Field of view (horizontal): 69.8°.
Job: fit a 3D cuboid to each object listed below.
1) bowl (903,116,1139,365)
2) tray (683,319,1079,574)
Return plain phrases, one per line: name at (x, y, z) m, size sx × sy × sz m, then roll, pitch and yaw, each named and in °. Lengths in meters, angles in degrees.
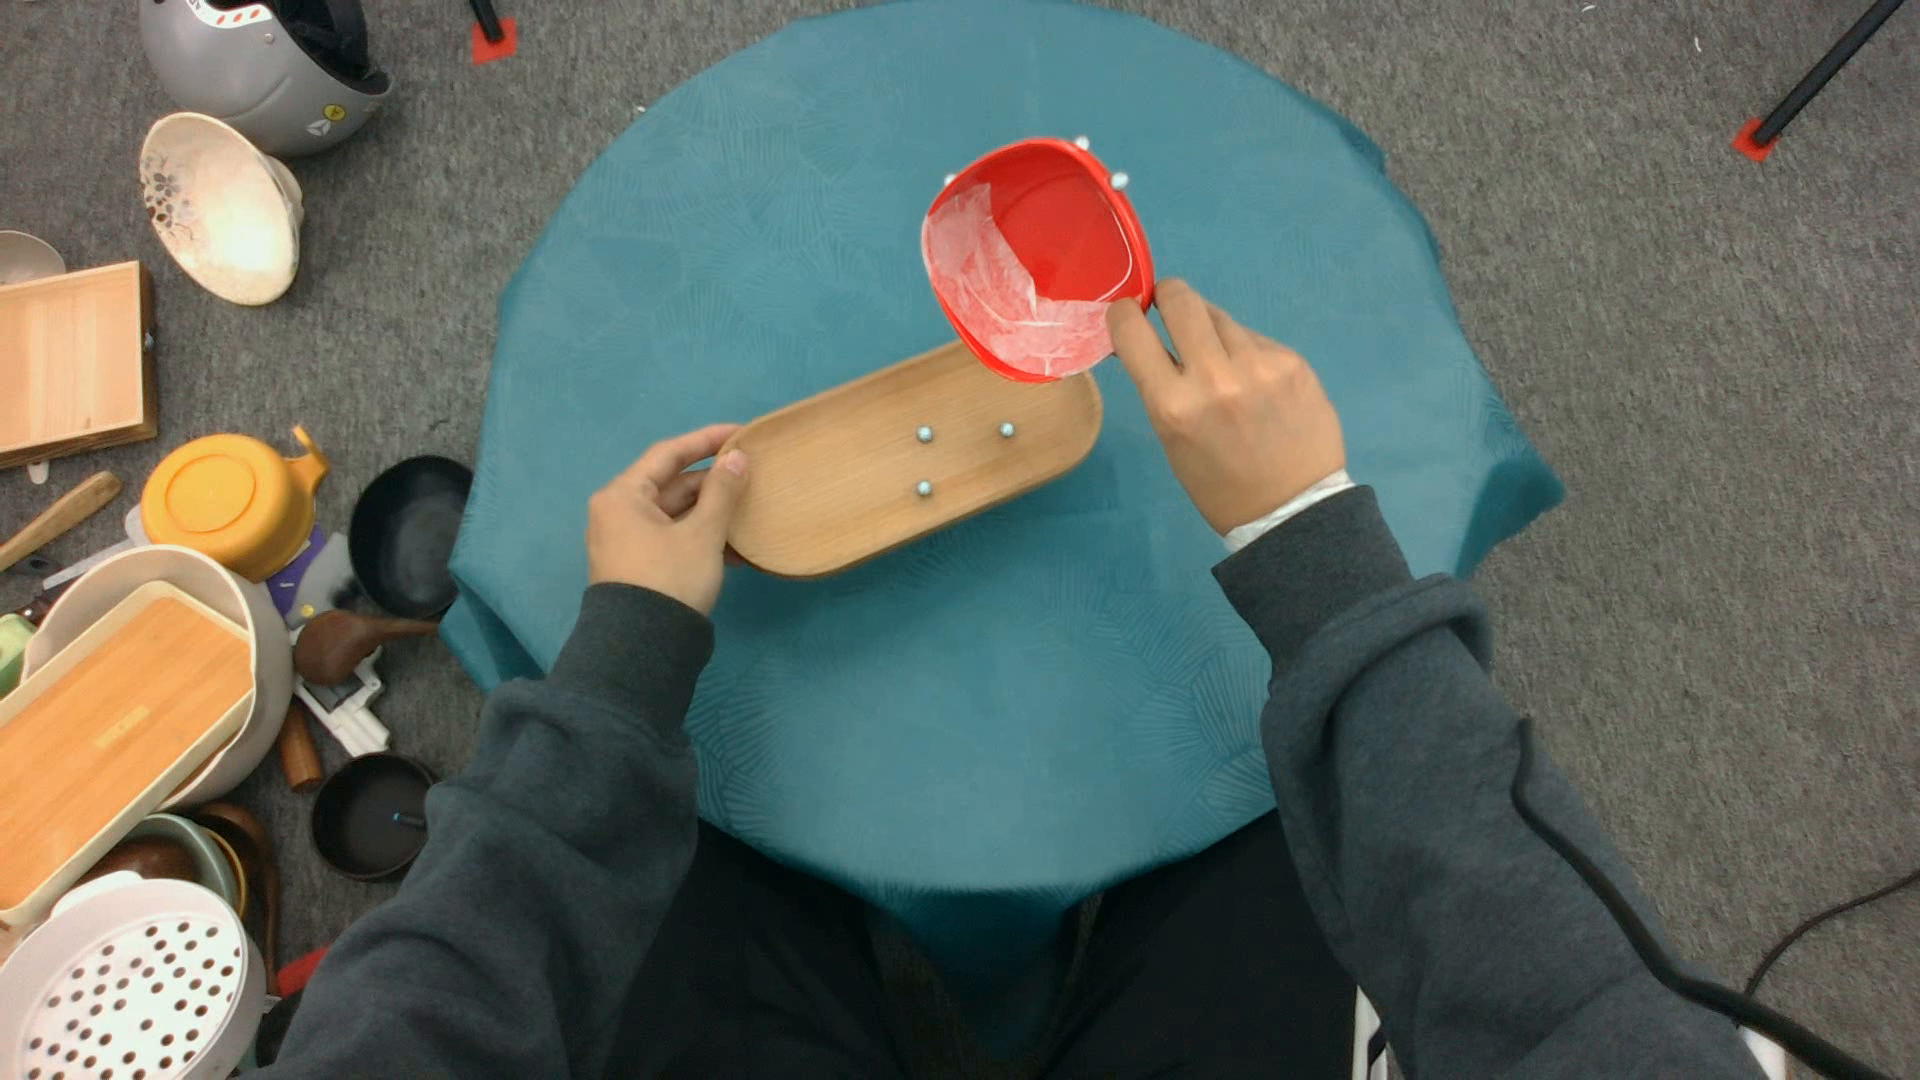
bowl at (0.036, -0.147, 0.662) m, size 0.119 × 0.118 × 0.051 m, roll 31°, pitch 34°, yaw 11°
tray at (-0.040, -0.056, 0.755) m, size 0.232 × 0.020 × 0.102 m, roll -26°, pitch 70°, yaw -18°
